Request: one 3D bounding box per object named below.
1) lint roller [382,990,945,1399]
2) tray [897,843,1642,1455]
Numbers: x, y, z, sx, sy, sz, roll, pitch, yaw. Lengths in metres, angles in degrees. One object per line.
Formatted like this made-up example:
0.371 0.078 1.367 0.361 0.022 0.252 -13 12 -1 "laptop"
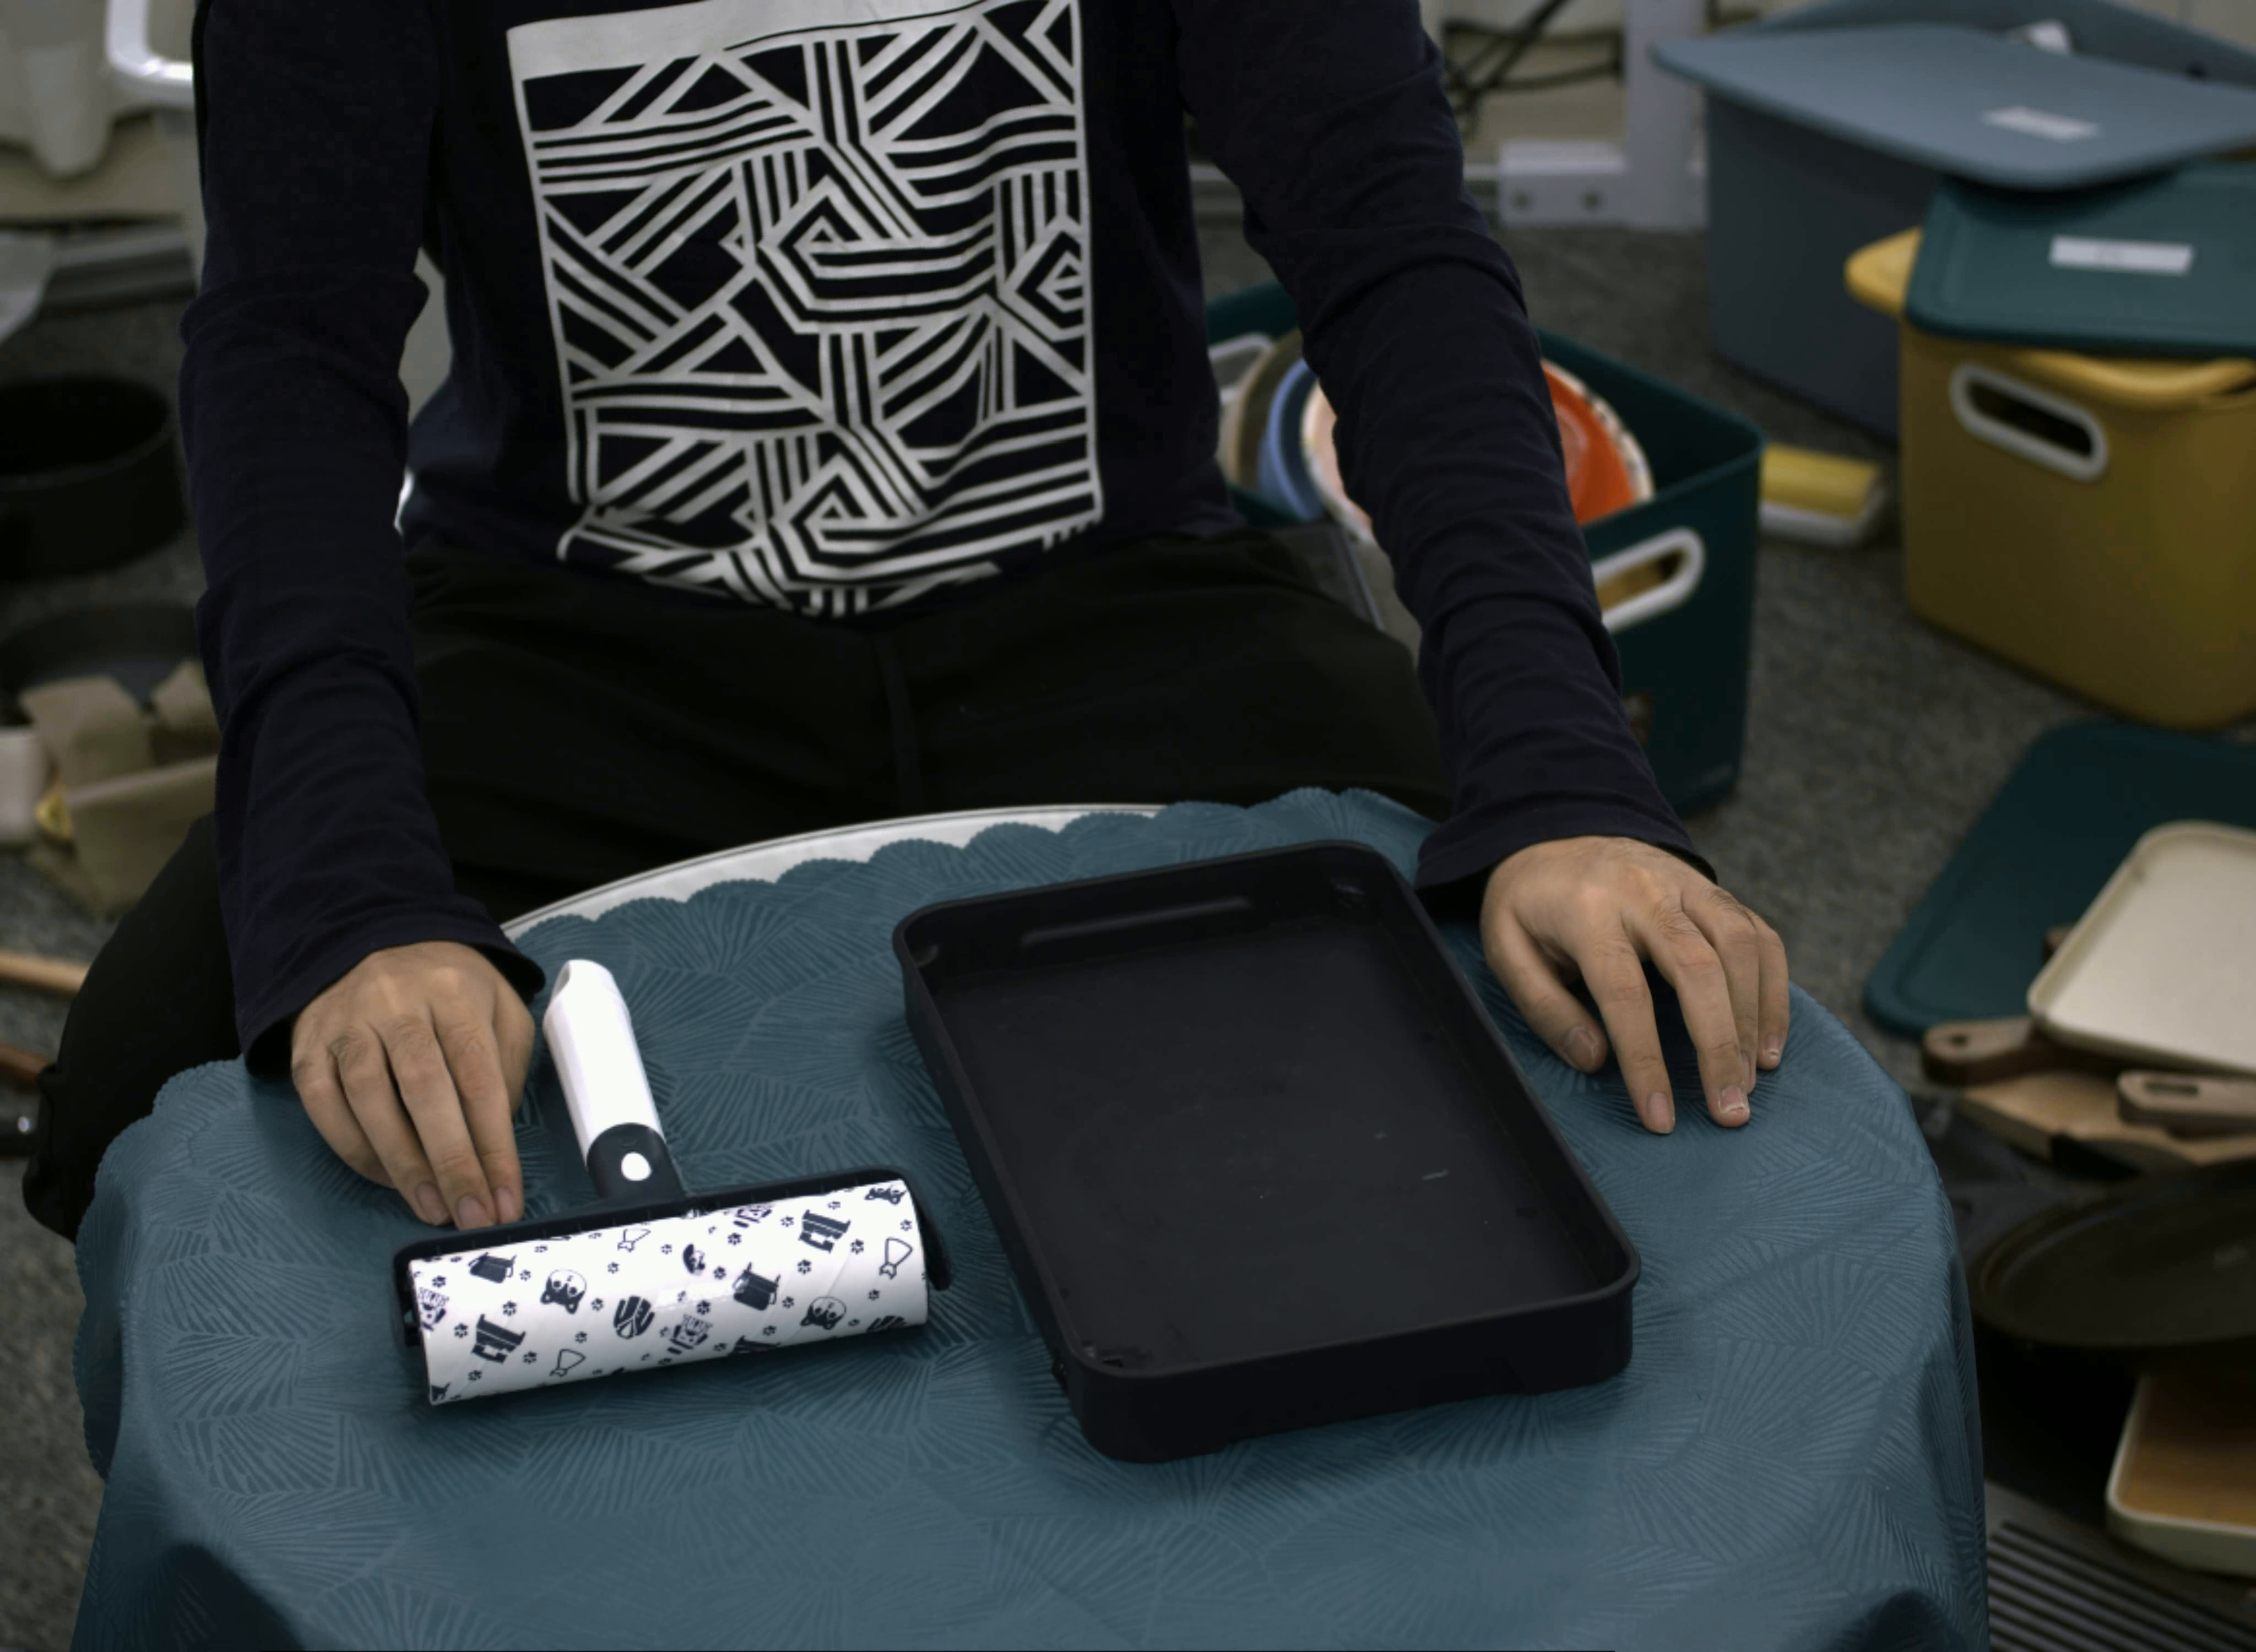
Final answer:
-0.170 0.106 1.865 0.176 0.050 0.249 -10 25 -11 "lint roller"
0.040 0.100 1.860 0.184 0.036 0.321 -8 27 -11 "tray"
